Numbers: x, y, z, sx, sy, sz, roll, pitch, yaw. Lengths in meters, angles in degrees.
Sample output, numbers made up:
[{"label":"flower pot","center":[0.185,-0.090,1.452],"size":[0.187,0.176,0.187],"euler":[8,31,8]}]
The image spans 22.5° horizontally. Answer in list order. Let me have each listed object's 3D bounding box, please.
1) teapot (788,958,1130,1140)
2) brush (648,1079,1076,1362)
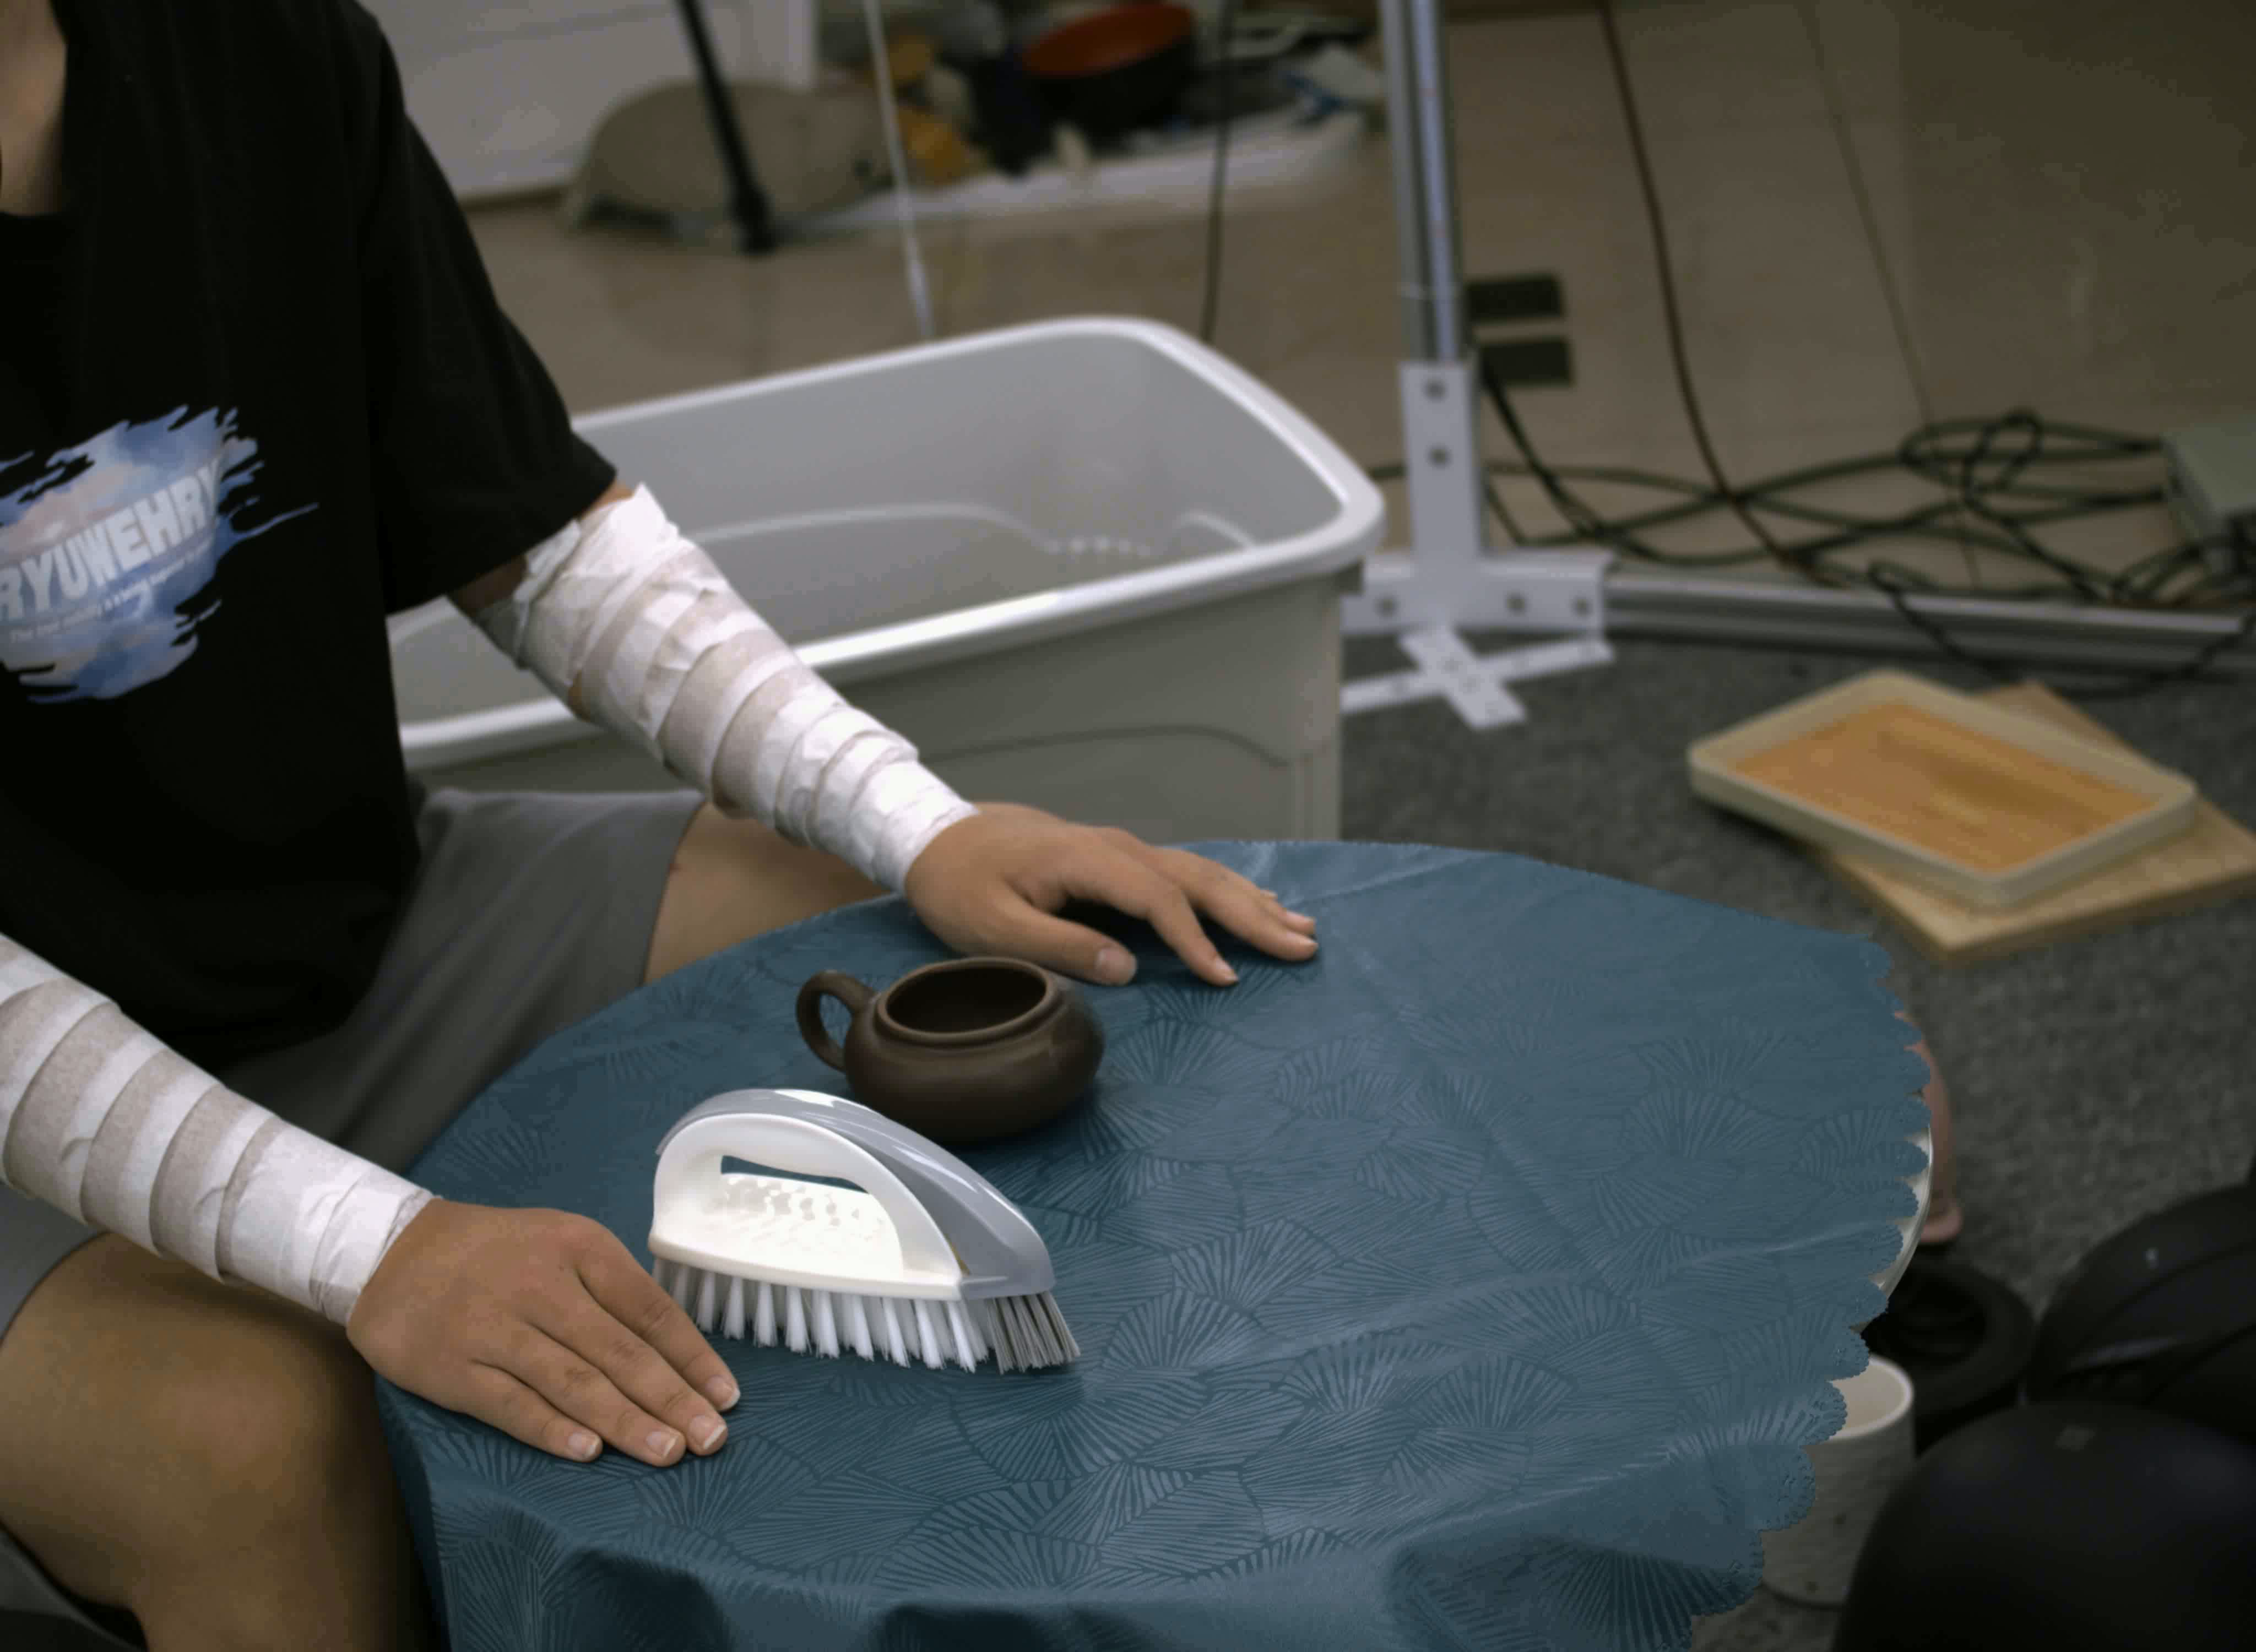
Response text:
[{"label":"teapot","center":[-0.065,0.085,2.216],"size":[0.153,0.054,0.101],"euler":[5,26,25]},{"label":"brush","center":[-0.098,0.140,2.060],"size":[0.174,0.096,0.061],"euler":[11,34,30]}]
